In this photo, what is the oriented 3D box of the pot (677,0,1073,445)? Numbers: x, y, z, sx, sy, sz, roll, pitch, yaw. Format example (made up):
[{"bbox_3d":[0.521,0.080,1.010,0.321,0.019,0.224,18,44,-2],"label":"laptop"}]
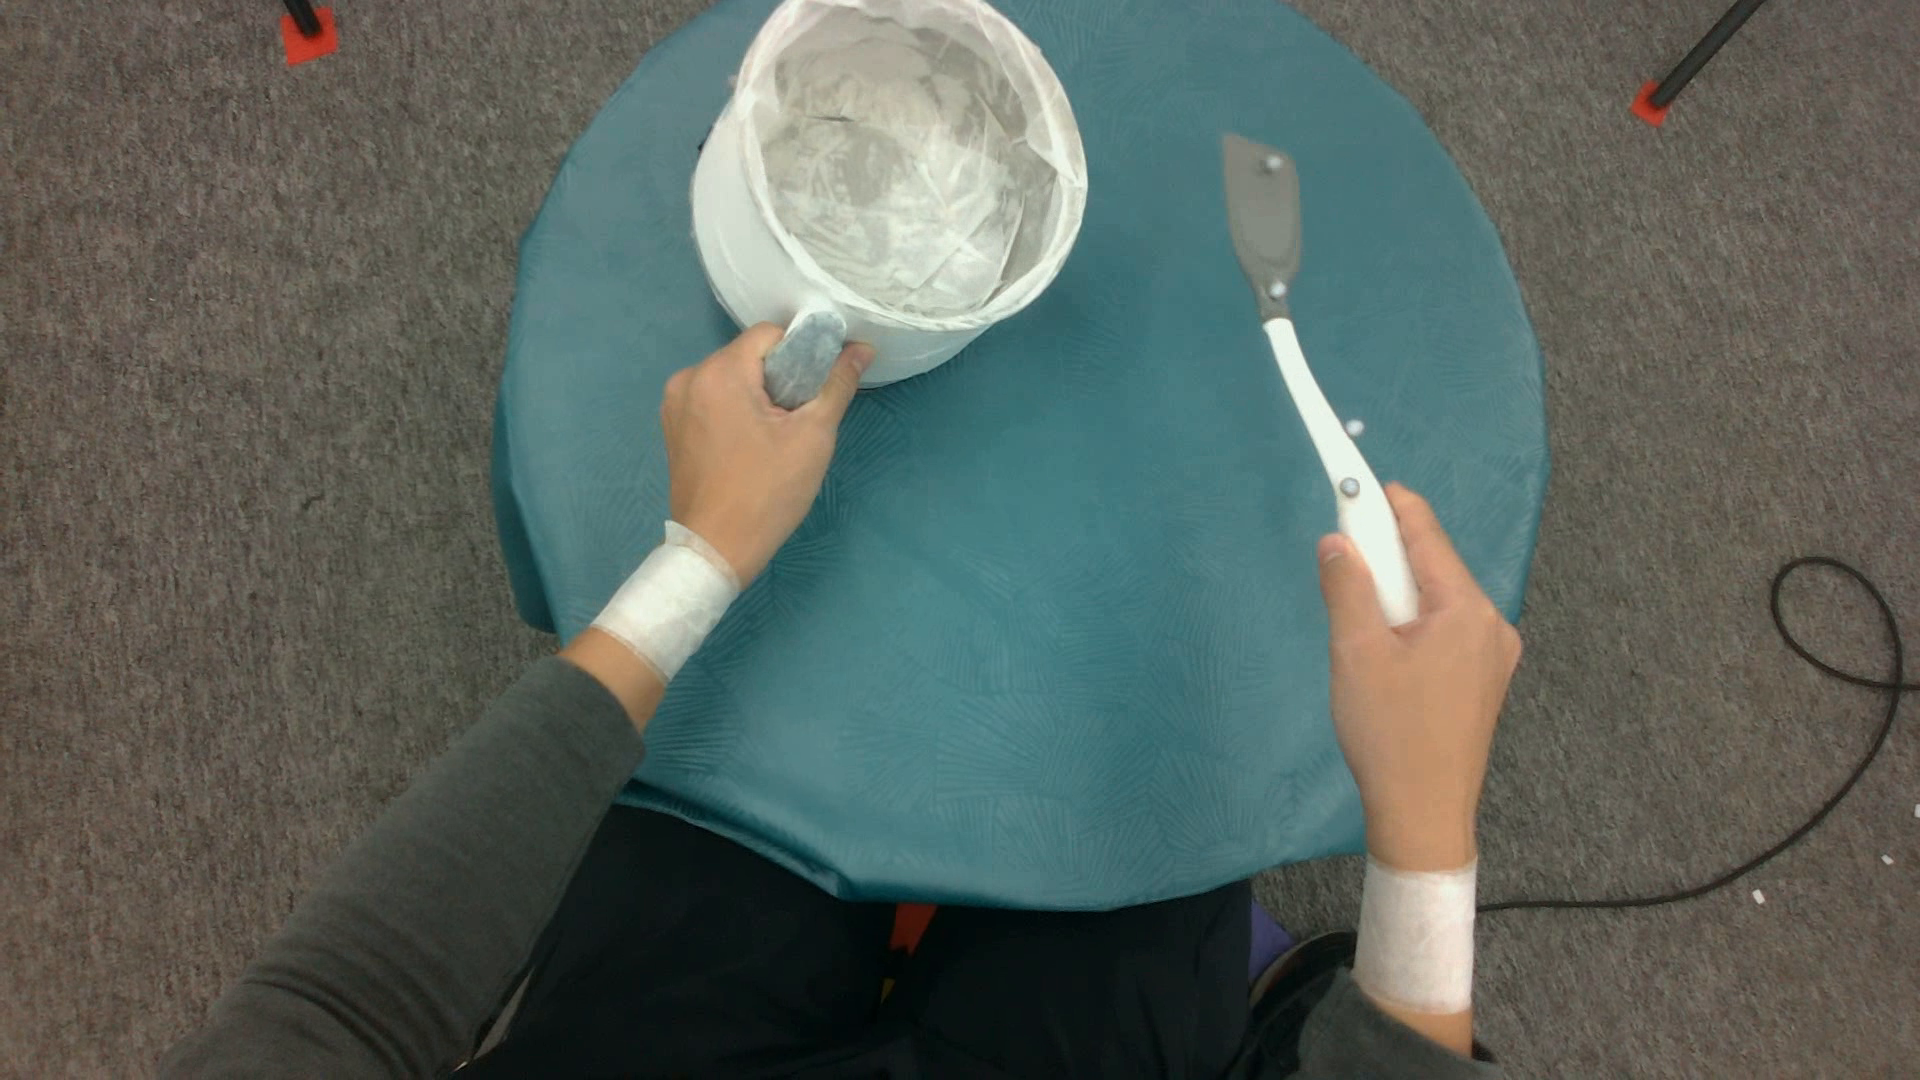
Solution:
[{"bbox_3d":[-0.060,-0.158,0.703,0.179,0.136,0.234,30,72,-17],"label":"pot"}]

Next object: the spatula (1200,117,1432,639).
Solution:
[{"bbox_3d":[0.163,-0.087,0.658,0.059,0.032,0.288,7,57,-30],"label":"spatula"}]
